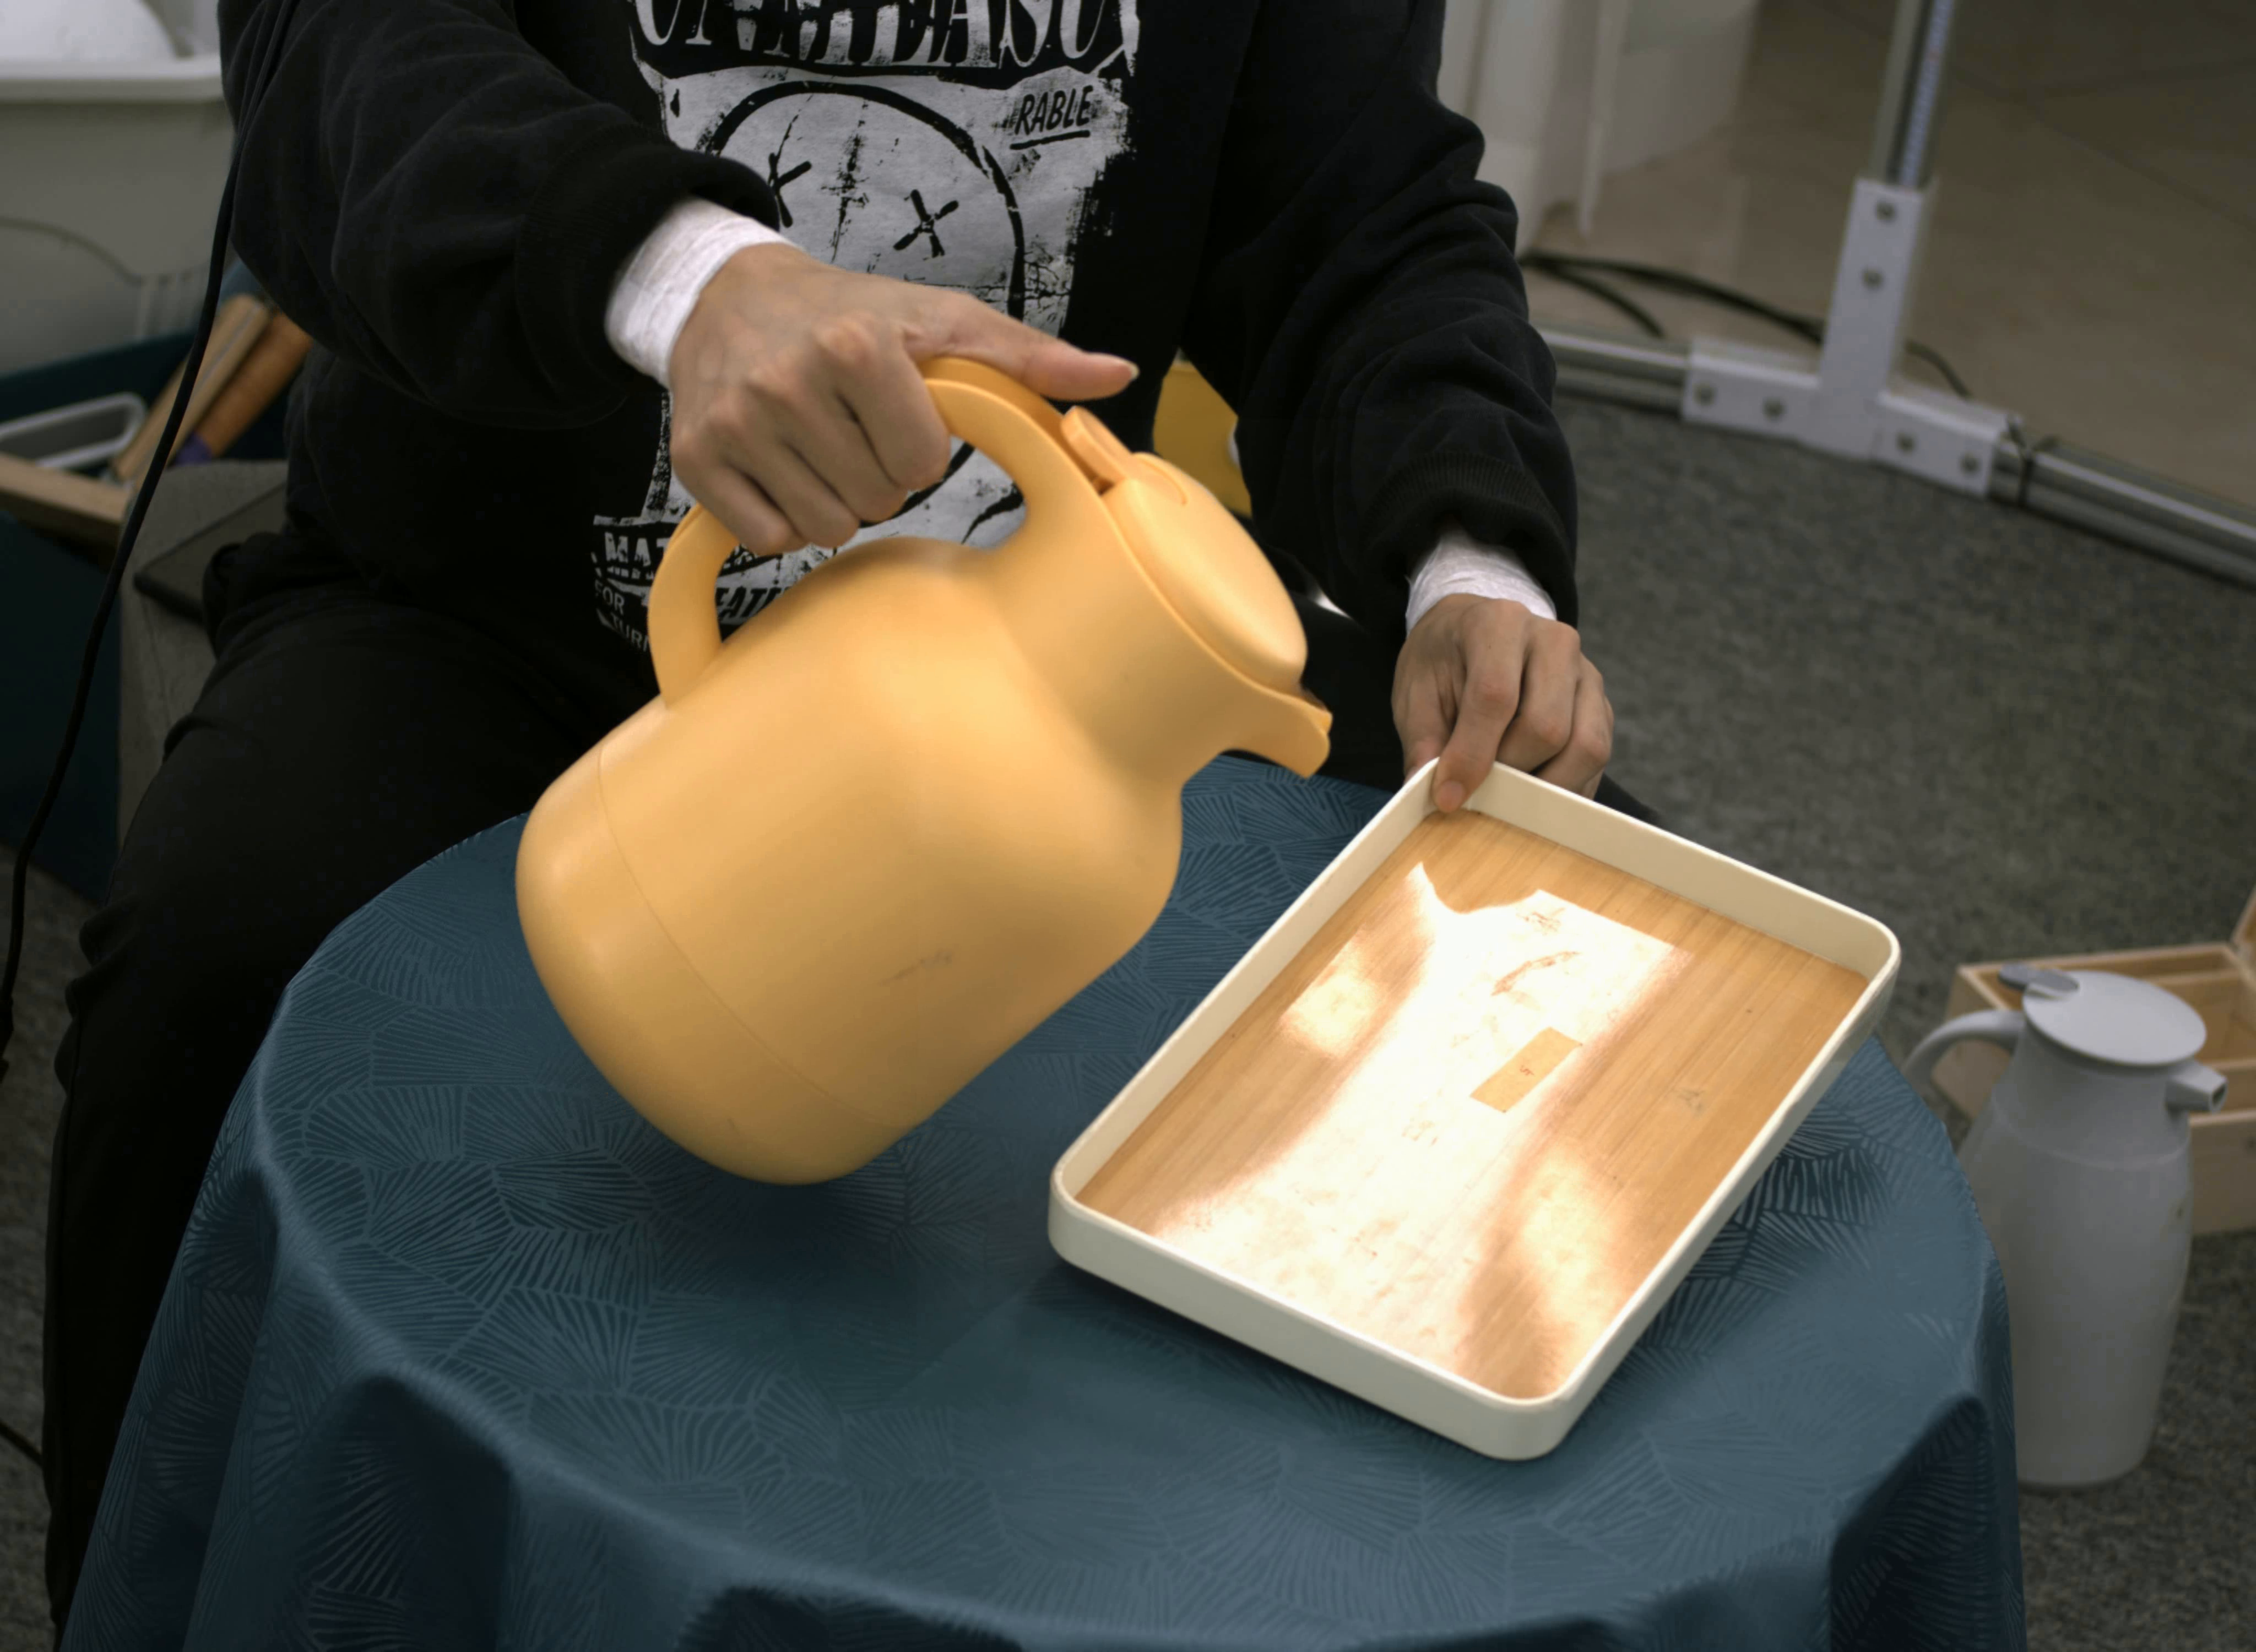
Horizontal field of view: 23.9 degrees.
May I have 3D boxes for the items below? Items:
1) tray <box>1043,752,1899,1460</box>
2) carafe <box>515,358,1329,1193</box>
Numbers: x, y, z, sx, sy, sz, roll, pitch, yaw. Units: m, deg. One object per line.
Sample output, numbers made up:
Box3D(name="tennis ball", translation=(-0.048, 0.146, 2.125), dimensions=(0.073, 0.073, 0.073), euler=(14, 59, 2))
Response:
Box3D(name="tray", translation=(0.121, 0.088, 1.807), dimensions=(0.192, 0.027, 0.300), euler=(23, 41, 21))
Box3D(name="carafe", translation=(-0.077, -0.024, 1.715), dimensions=(0.201, 0.260, 0.164), euler=(47, 16, -11))
